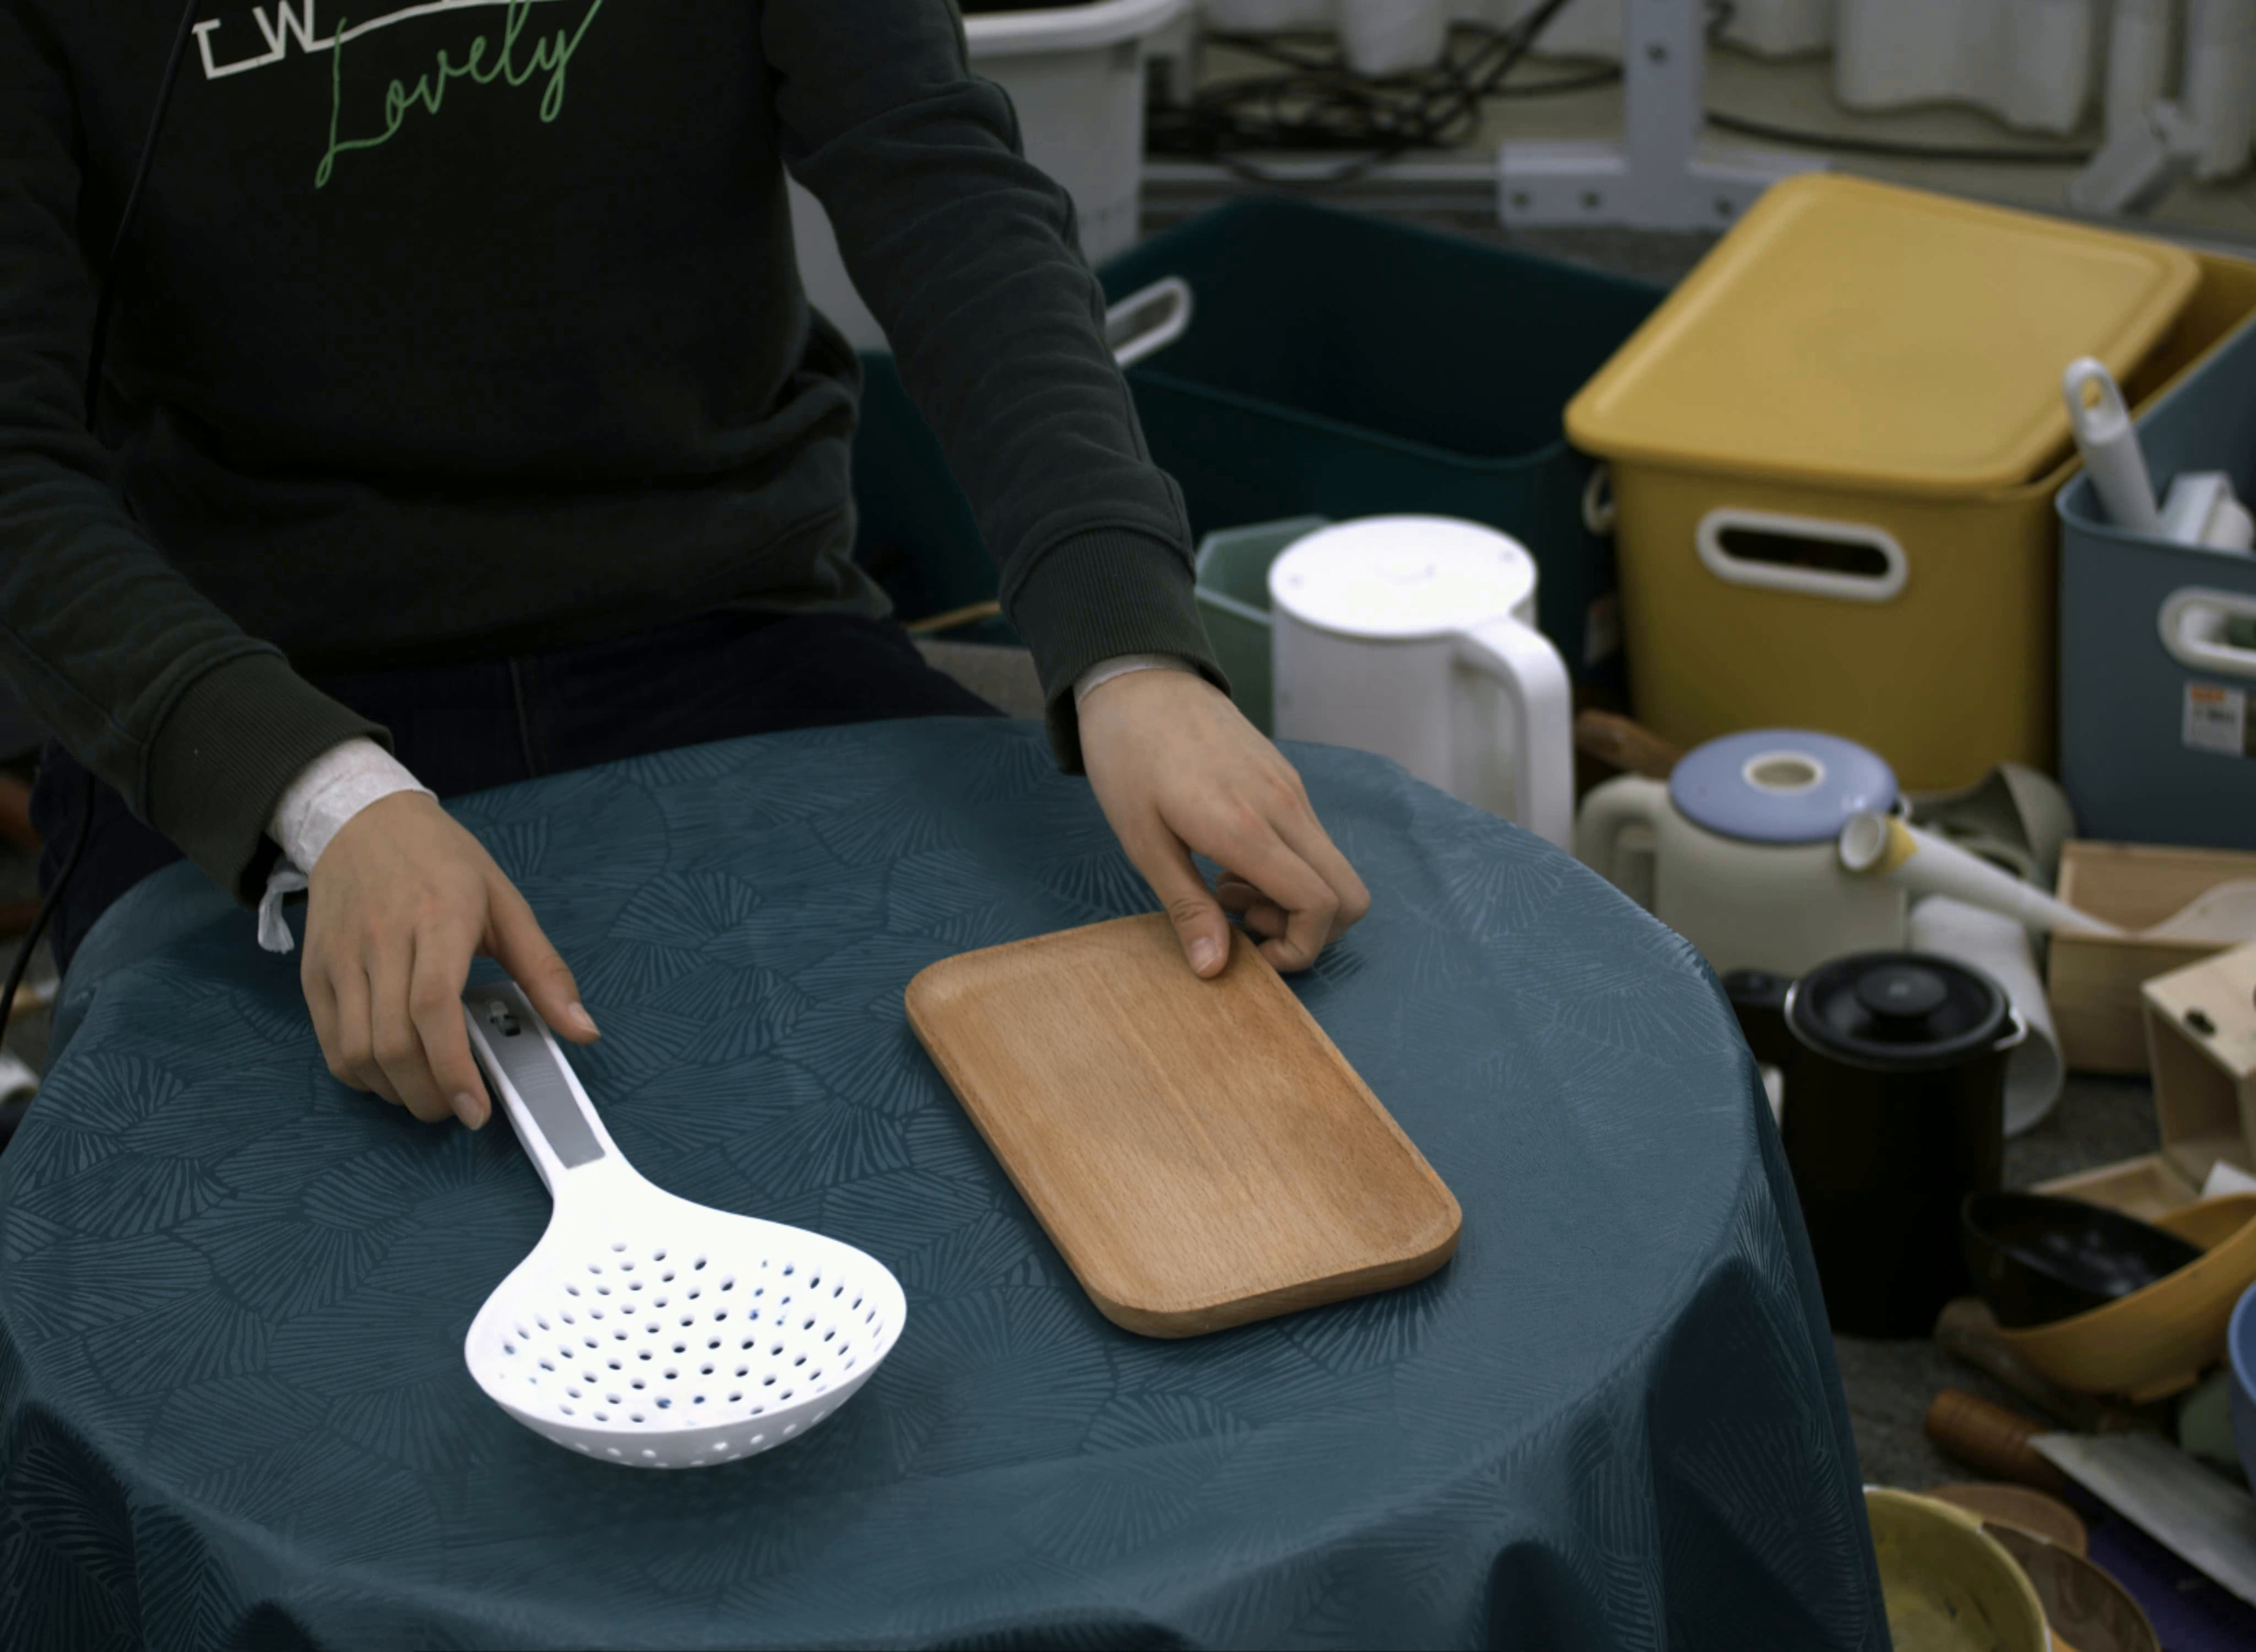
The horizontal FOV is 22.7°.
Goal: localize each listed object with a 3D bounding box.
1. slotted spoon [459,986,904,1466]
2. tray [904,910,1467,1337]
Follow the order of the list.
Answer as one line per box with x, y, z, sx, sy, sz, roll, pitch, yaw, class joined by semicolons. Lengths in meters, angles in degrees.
-0.170;0.123;1.826;0.136;0.045;0.353;-9;27;-16;slotted spoon
0.016;0.097;1.889;0.131;0.022;0.253;-10;27;-17;tray
